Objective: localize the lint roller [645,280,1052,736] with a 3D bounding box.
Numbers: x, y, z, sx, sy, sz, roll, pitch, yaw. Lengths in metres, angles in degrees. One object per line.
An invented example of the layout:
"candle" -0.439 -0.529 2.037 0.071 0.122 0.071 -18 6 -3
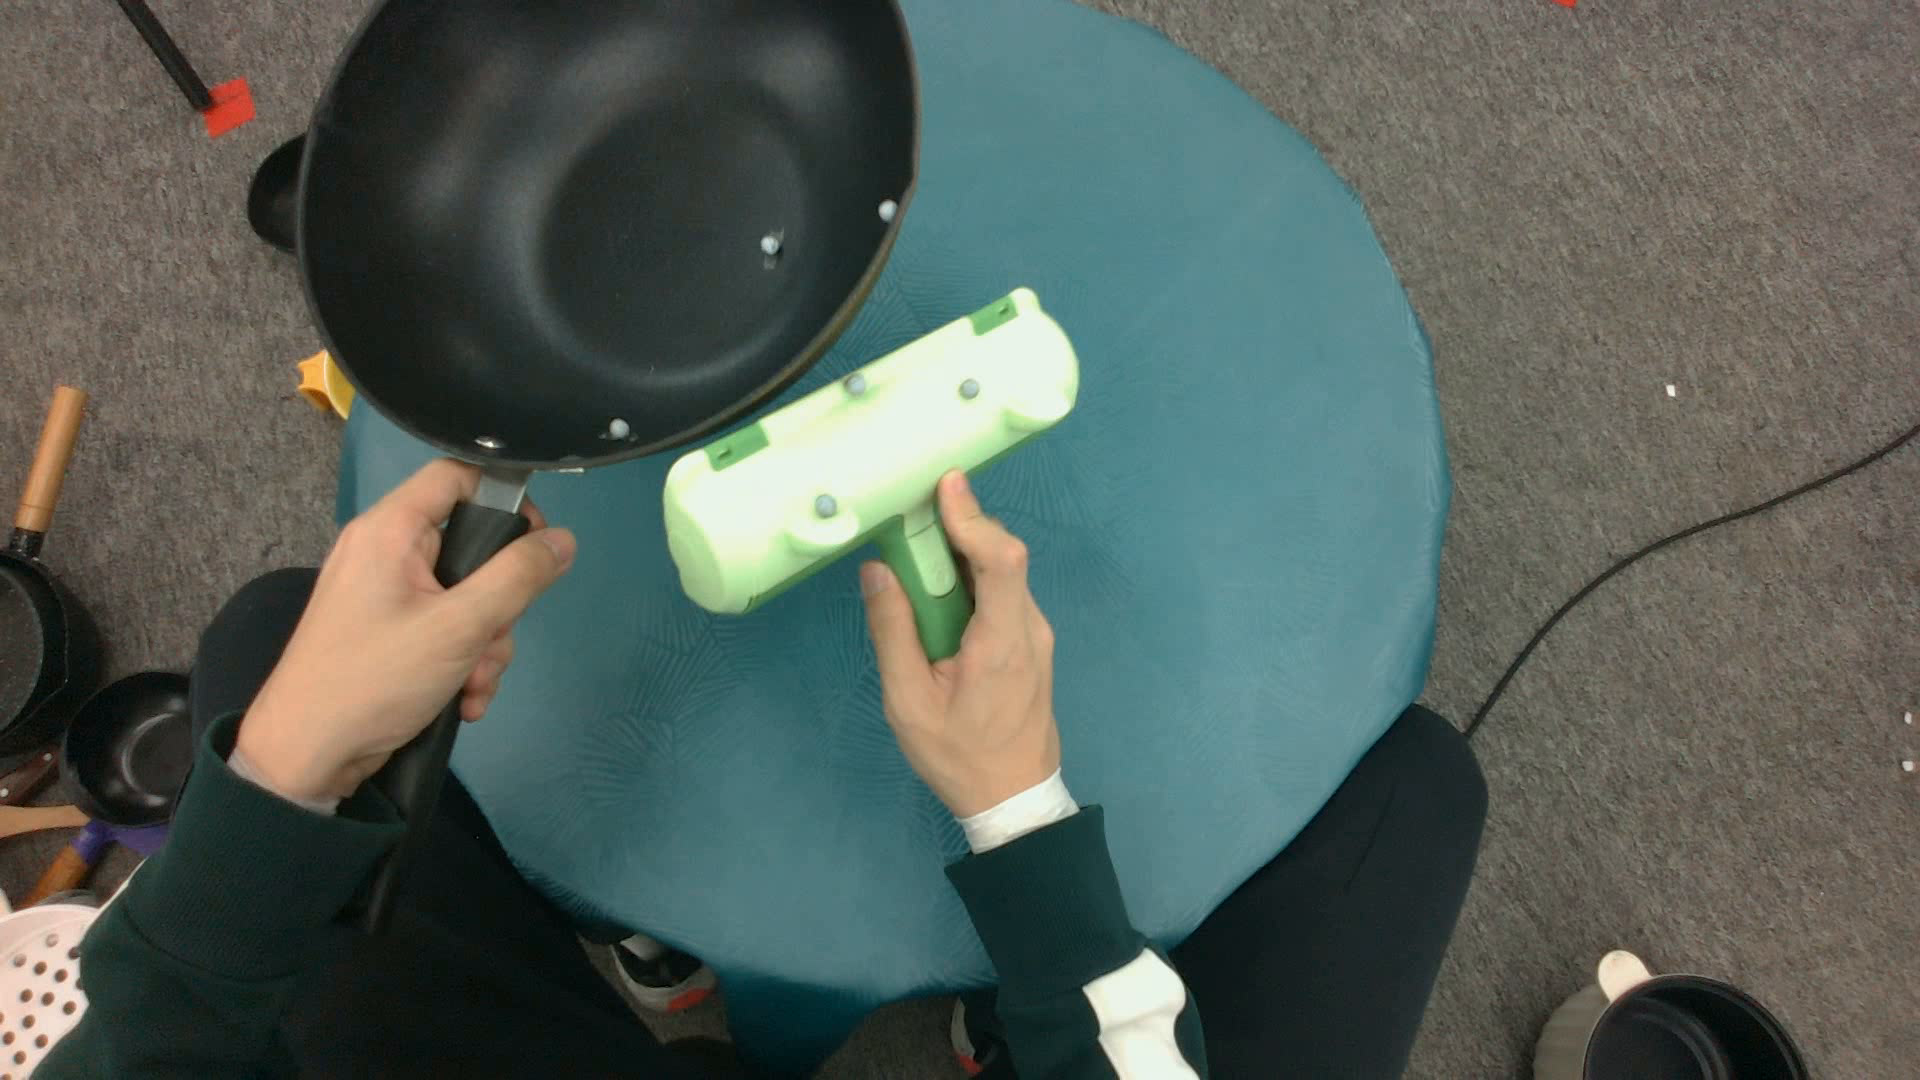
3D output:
"lint roller" -0.016 0.007 0.586 0.199 0.082 0.183 -34 108 -33

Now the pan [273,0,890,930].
"pan" -0.172 -0.071 0.587 0.288 0.087 0.464 9 81 17
